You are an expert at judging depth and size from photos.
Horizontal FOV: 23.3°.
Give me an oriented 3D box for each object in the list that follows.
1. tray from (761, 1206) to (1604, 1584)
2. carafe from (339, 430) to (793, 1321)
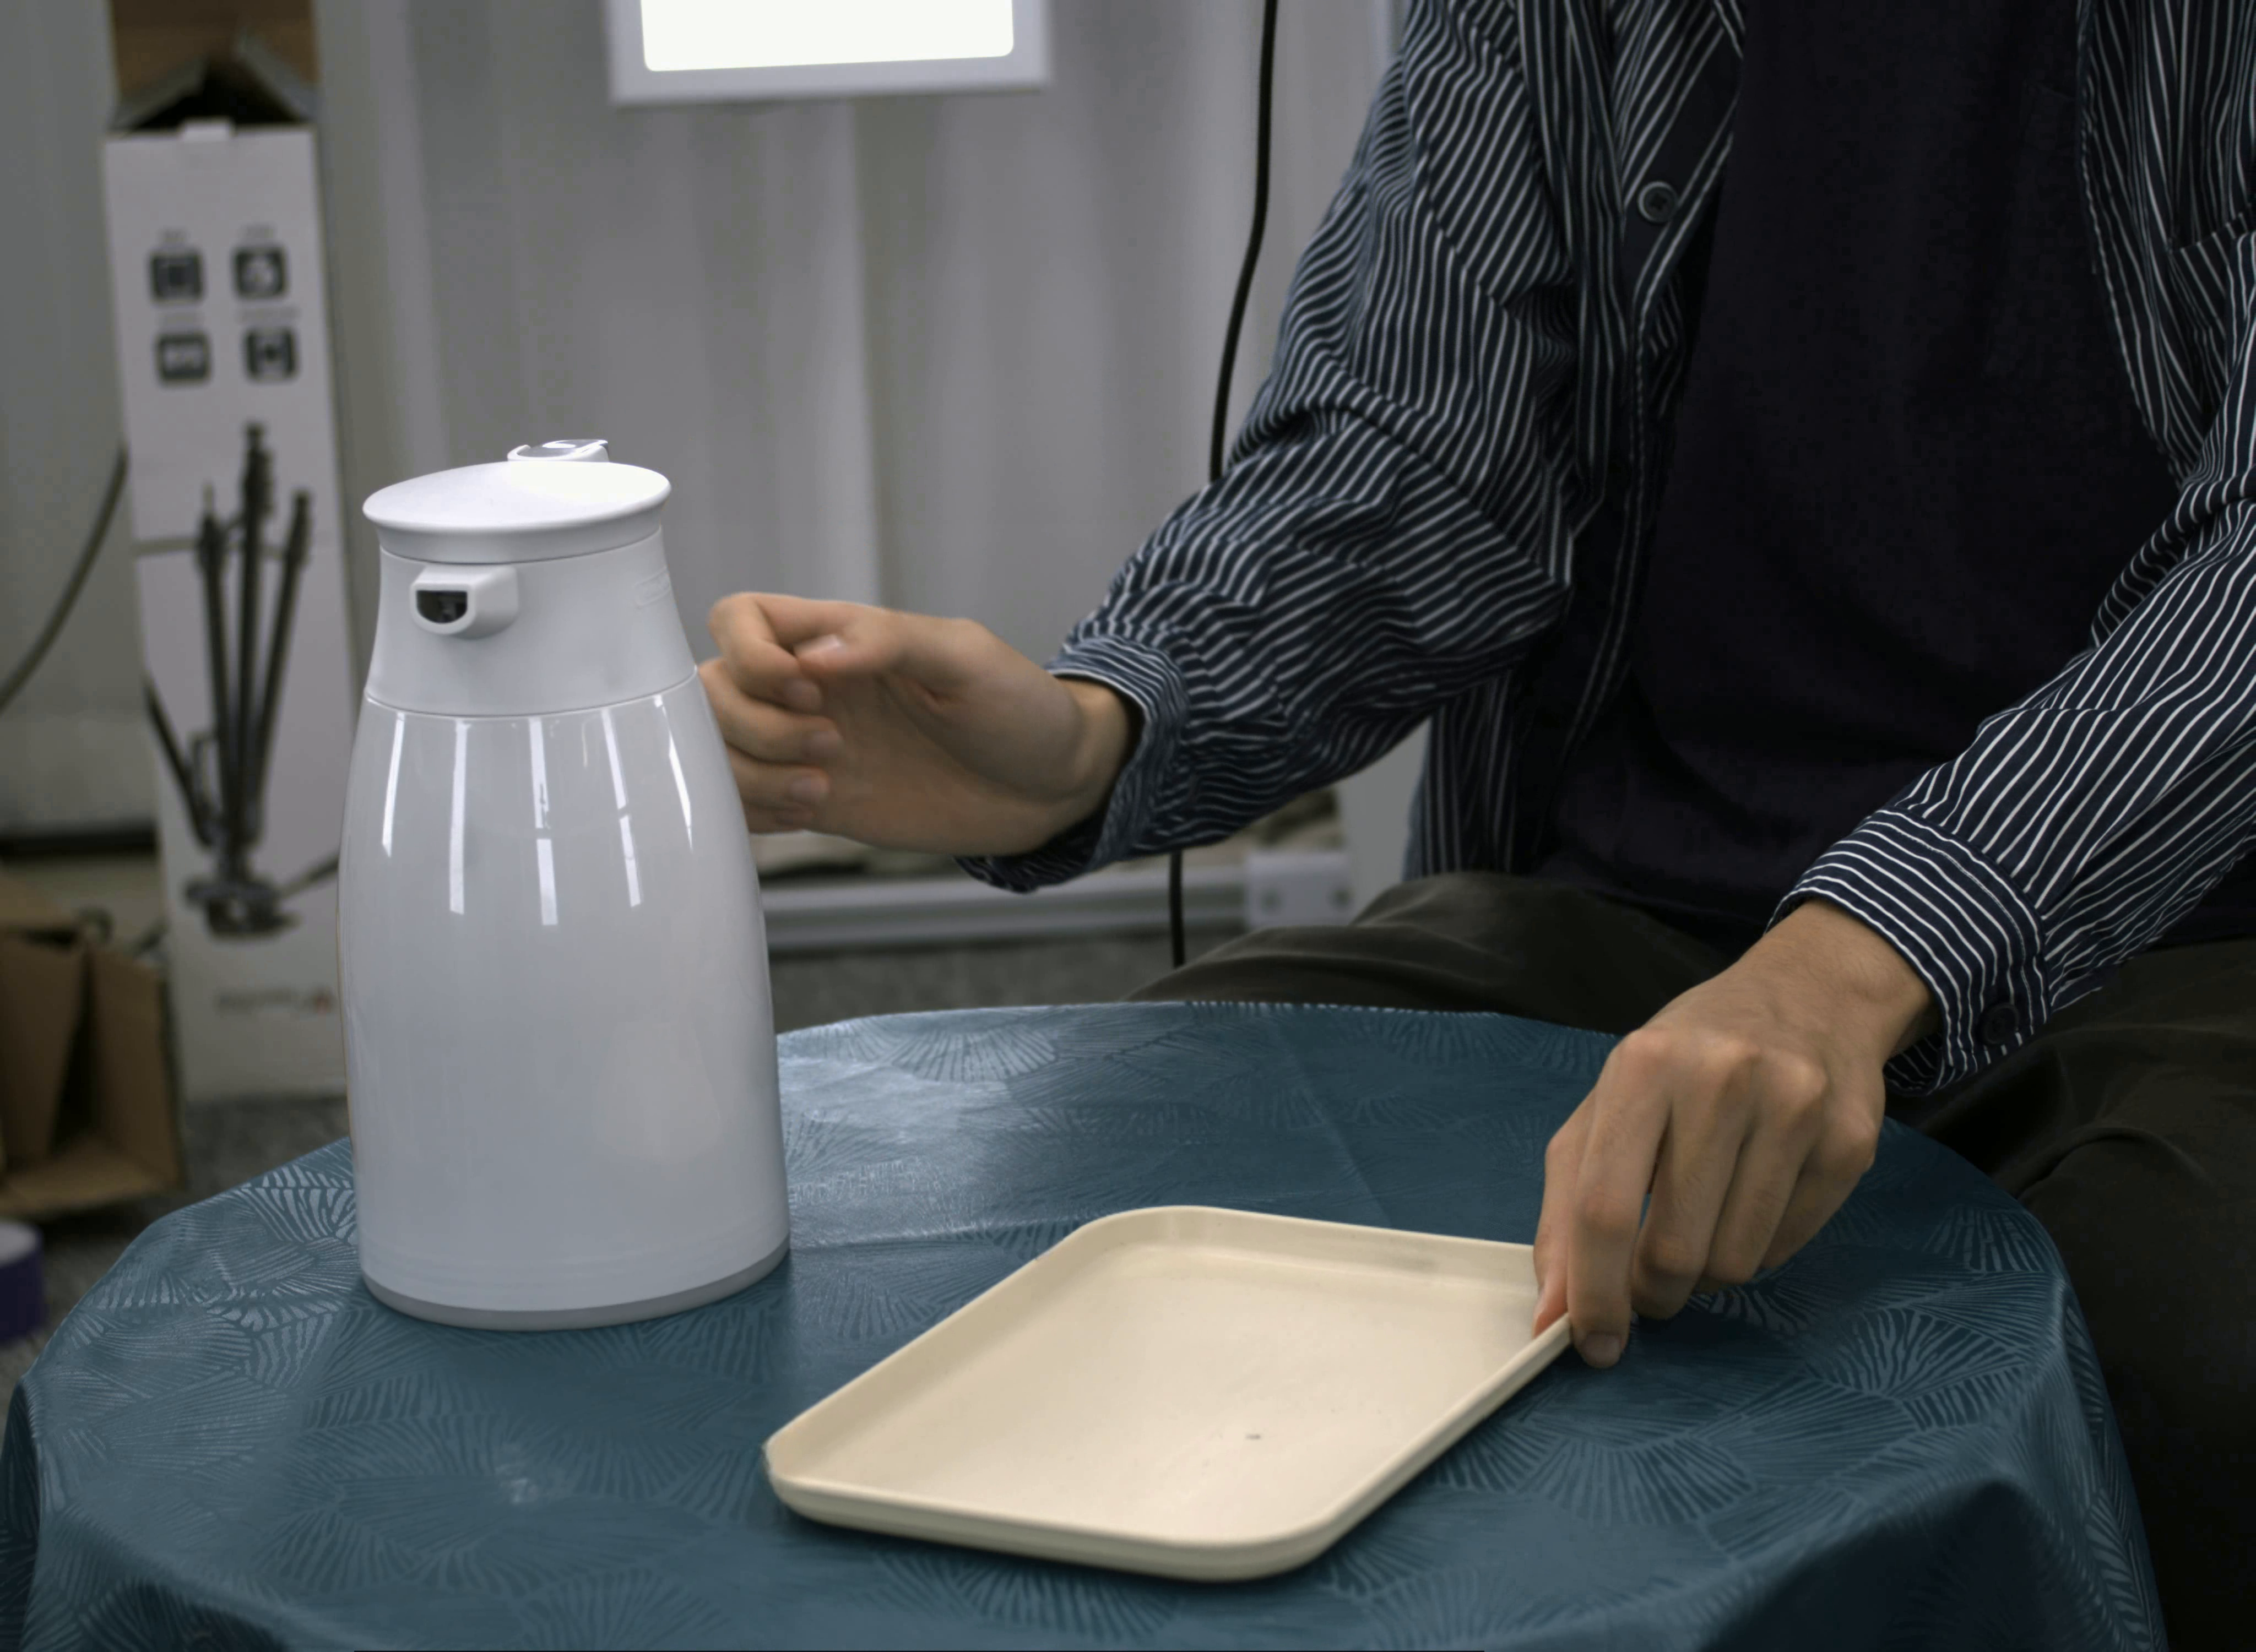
[{"bbox_3d":[0.019,0.157,1.521,0.171,0.017,0.240,5,17,27],"label":"tray"},{"bbox_3d":[-0.172,0.007,1.671,0.132,0.248,0.168,-1,13,12],"label":"carafe"}]
